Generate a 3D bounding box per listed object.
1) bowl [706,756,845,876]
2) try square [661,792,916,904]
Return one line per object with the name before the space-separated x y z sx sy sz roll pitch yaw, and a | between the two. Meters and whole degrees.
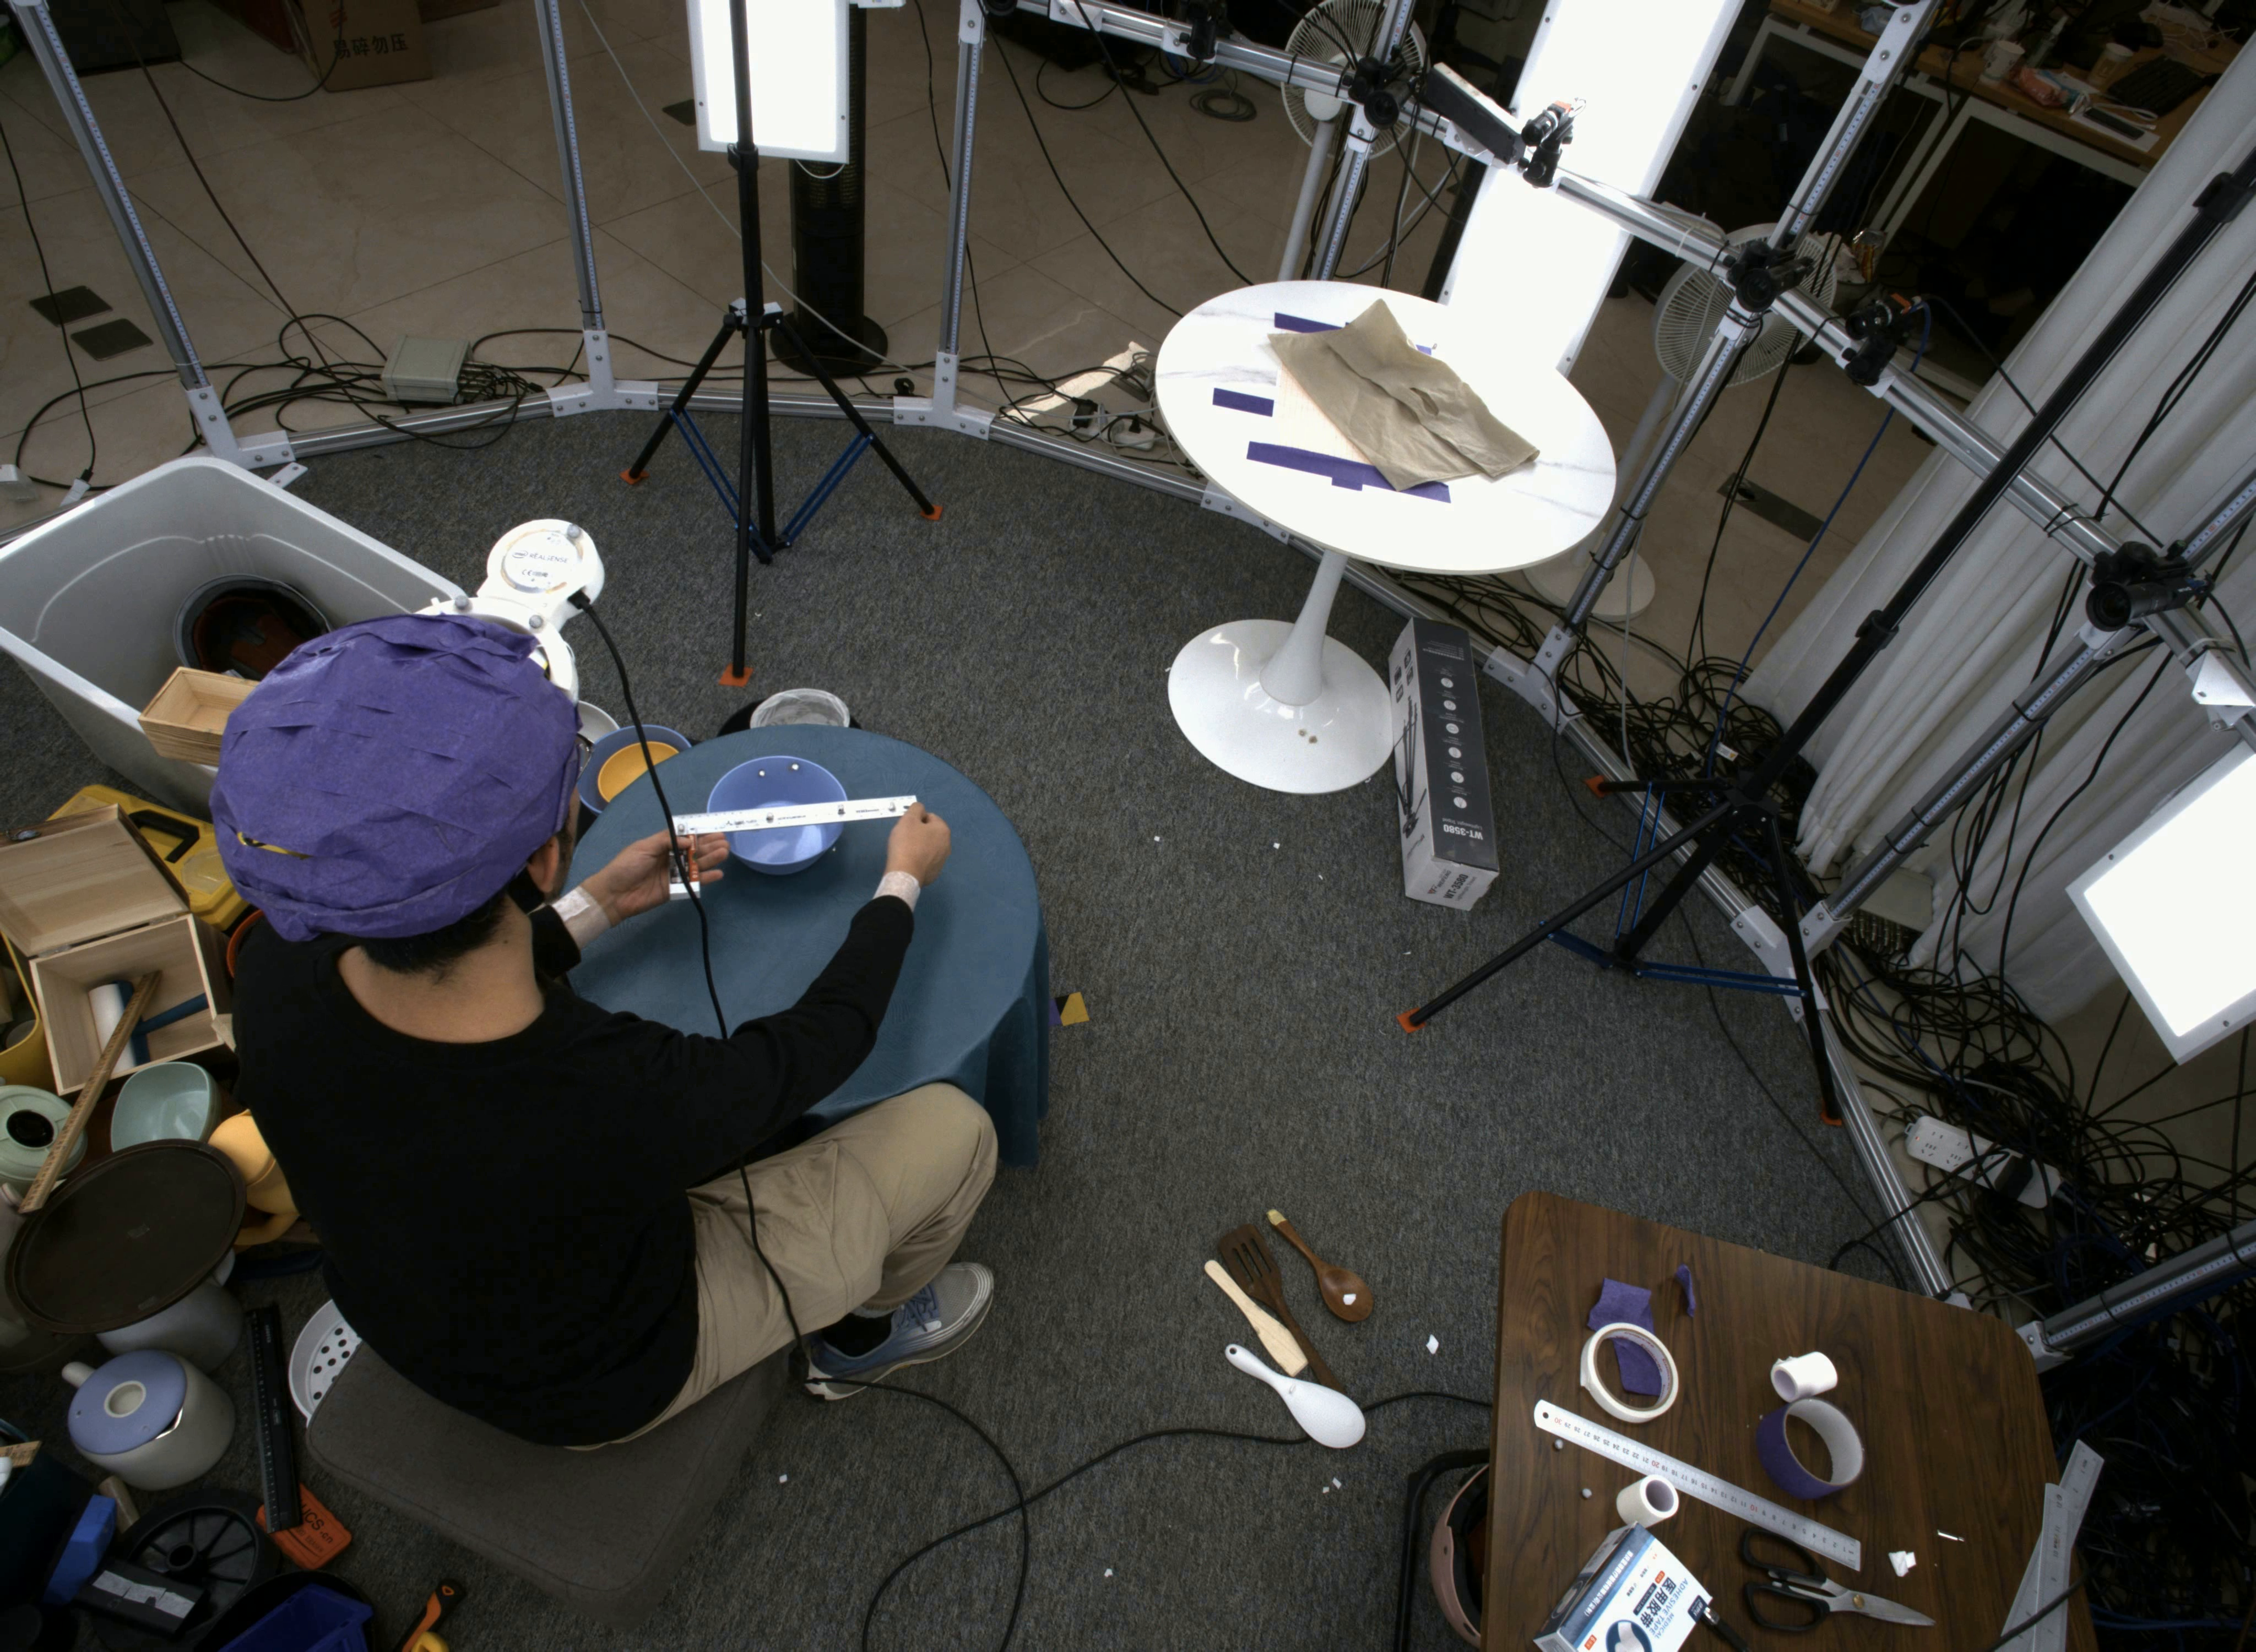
bowl | -0.452 -0.003 1.669 0.176 0.071 0.173 8 52 -9
try square | -0.407 0.020 1.579 0.314 0.016 0.147 -6 45 -19
